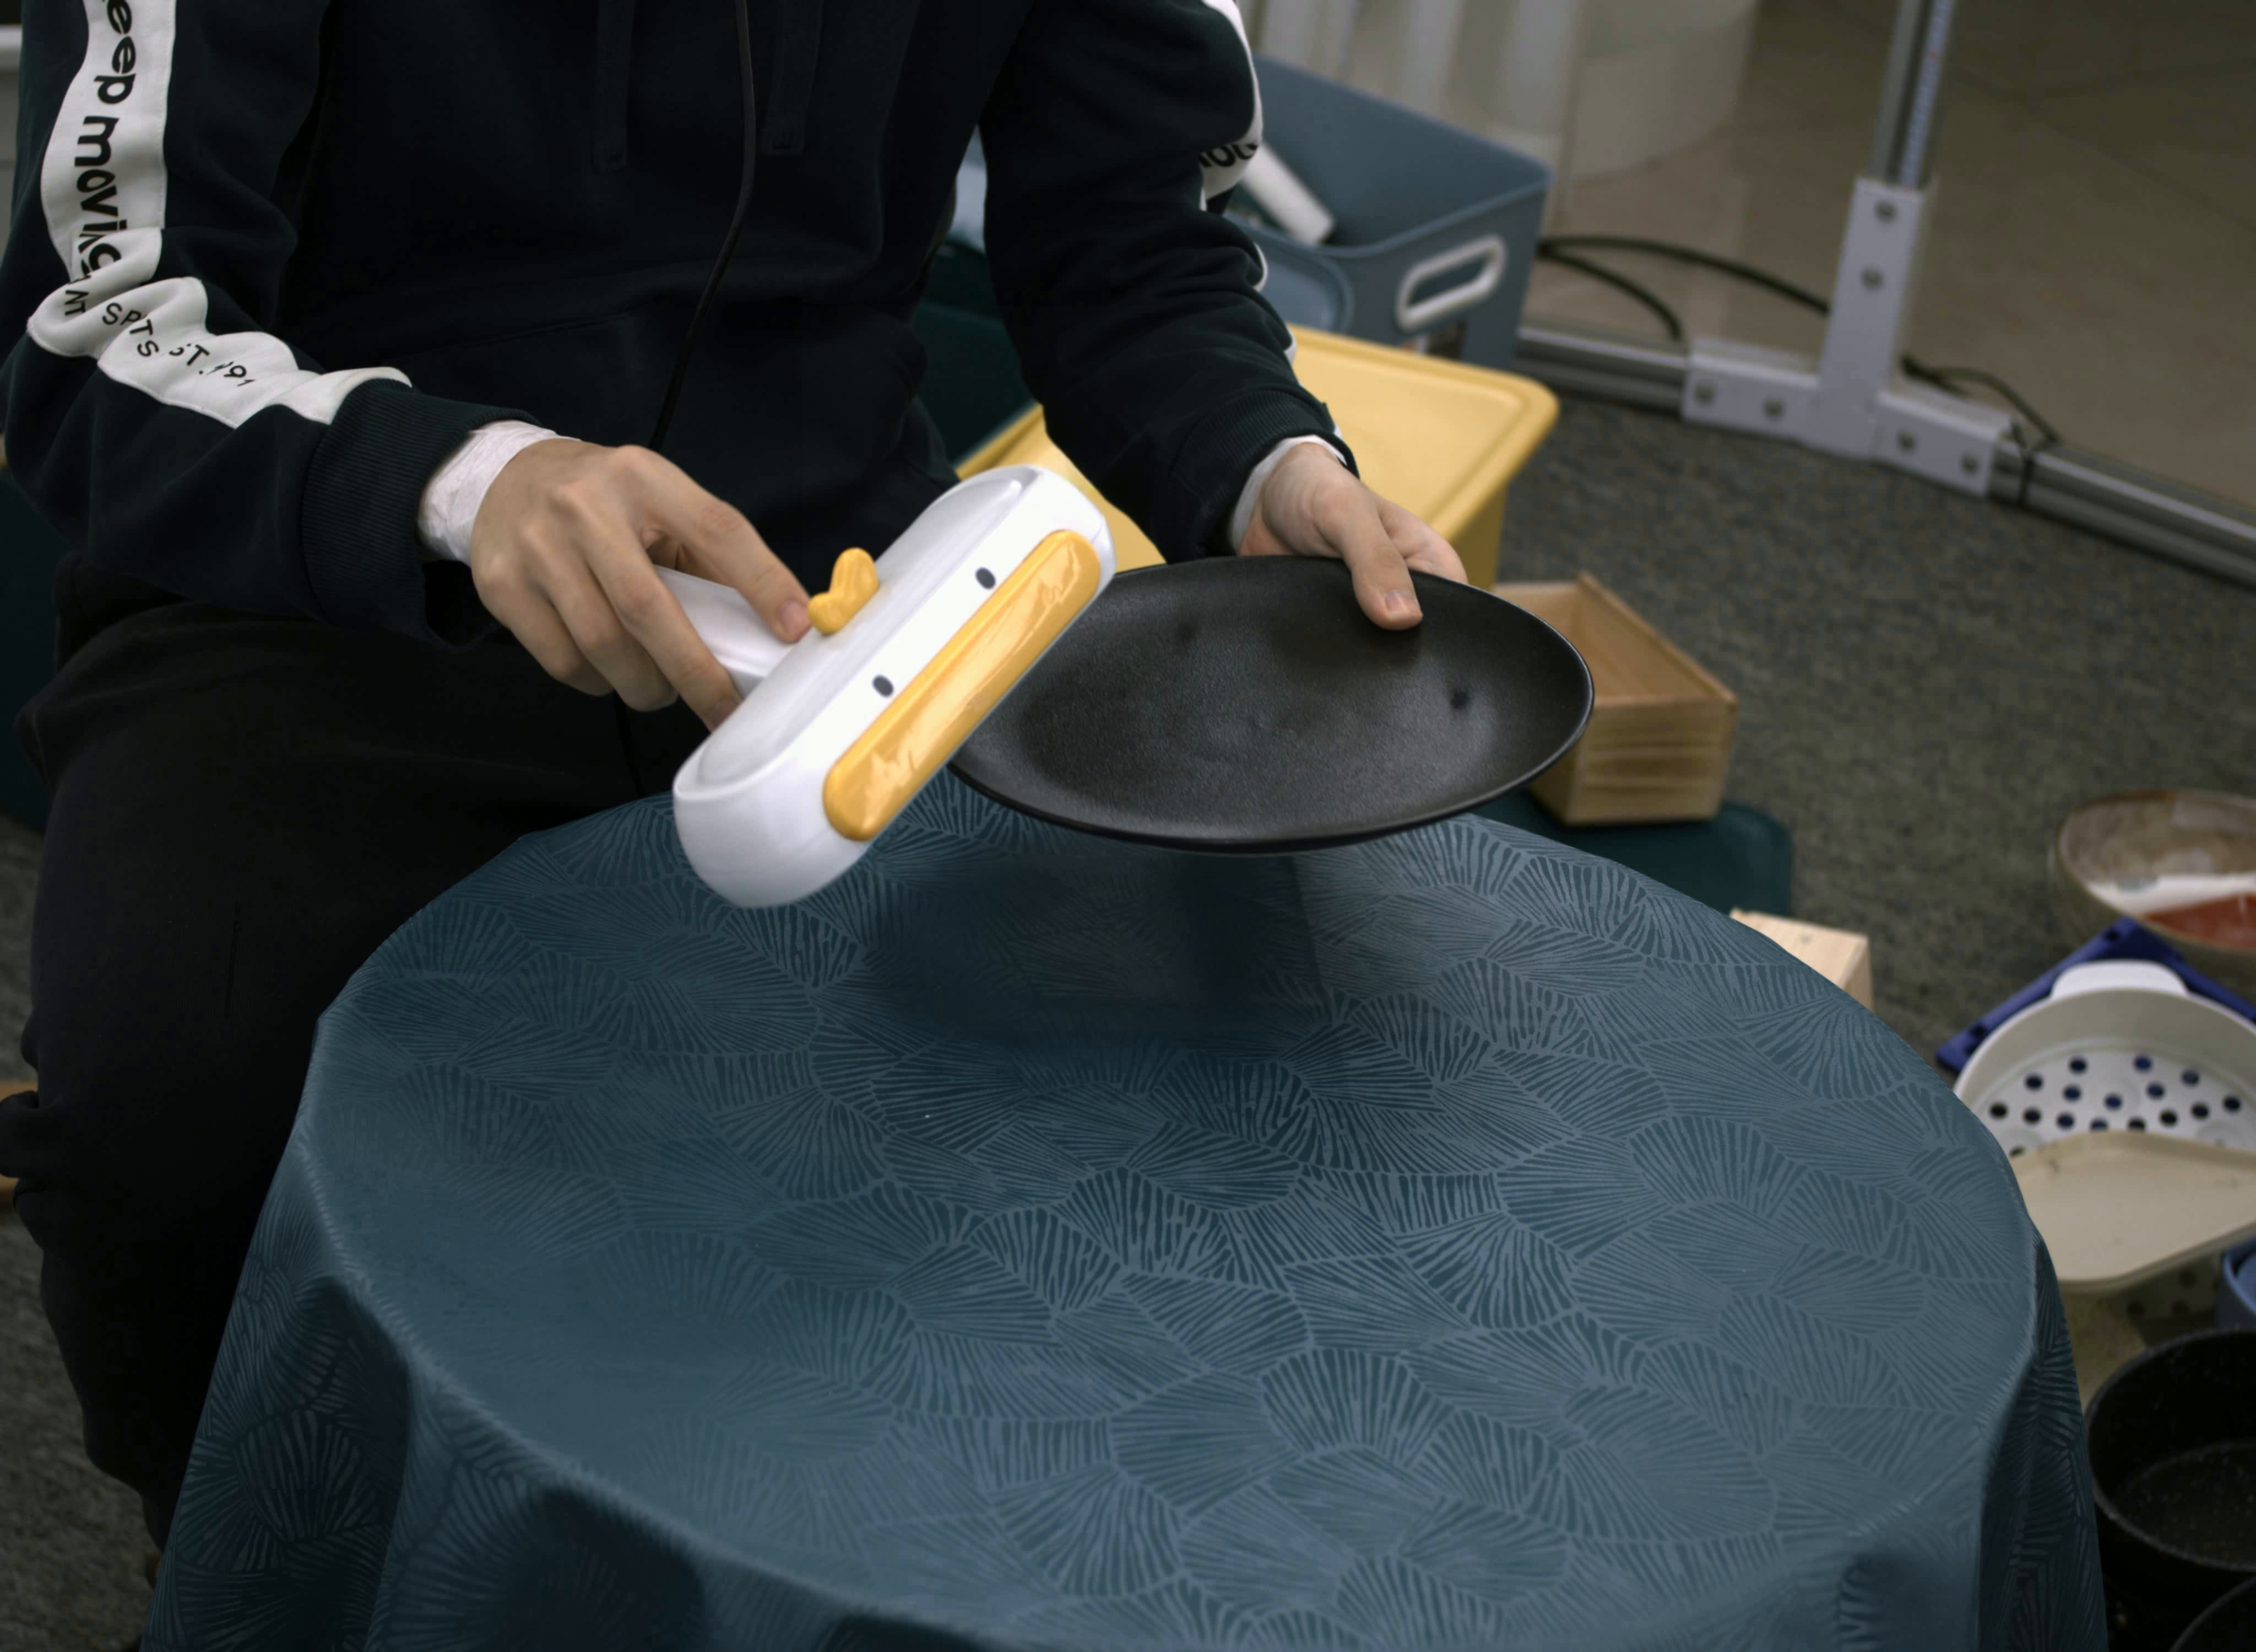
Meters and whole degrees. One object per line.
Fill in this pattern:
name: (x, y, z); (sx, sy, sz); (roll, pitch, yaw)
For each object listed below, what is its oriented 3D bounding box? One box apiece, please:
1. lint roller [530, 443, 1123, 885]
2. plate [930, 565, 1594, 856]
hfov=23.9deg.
lint roller: (-0.120, -0.060, 1.791); (0.193, 0.073, 0.193); (0, 43, 41)
plate: (0.047, -0.039, 1.931); (0.244, 0.023, 0.246); (-2, 25, 1)
